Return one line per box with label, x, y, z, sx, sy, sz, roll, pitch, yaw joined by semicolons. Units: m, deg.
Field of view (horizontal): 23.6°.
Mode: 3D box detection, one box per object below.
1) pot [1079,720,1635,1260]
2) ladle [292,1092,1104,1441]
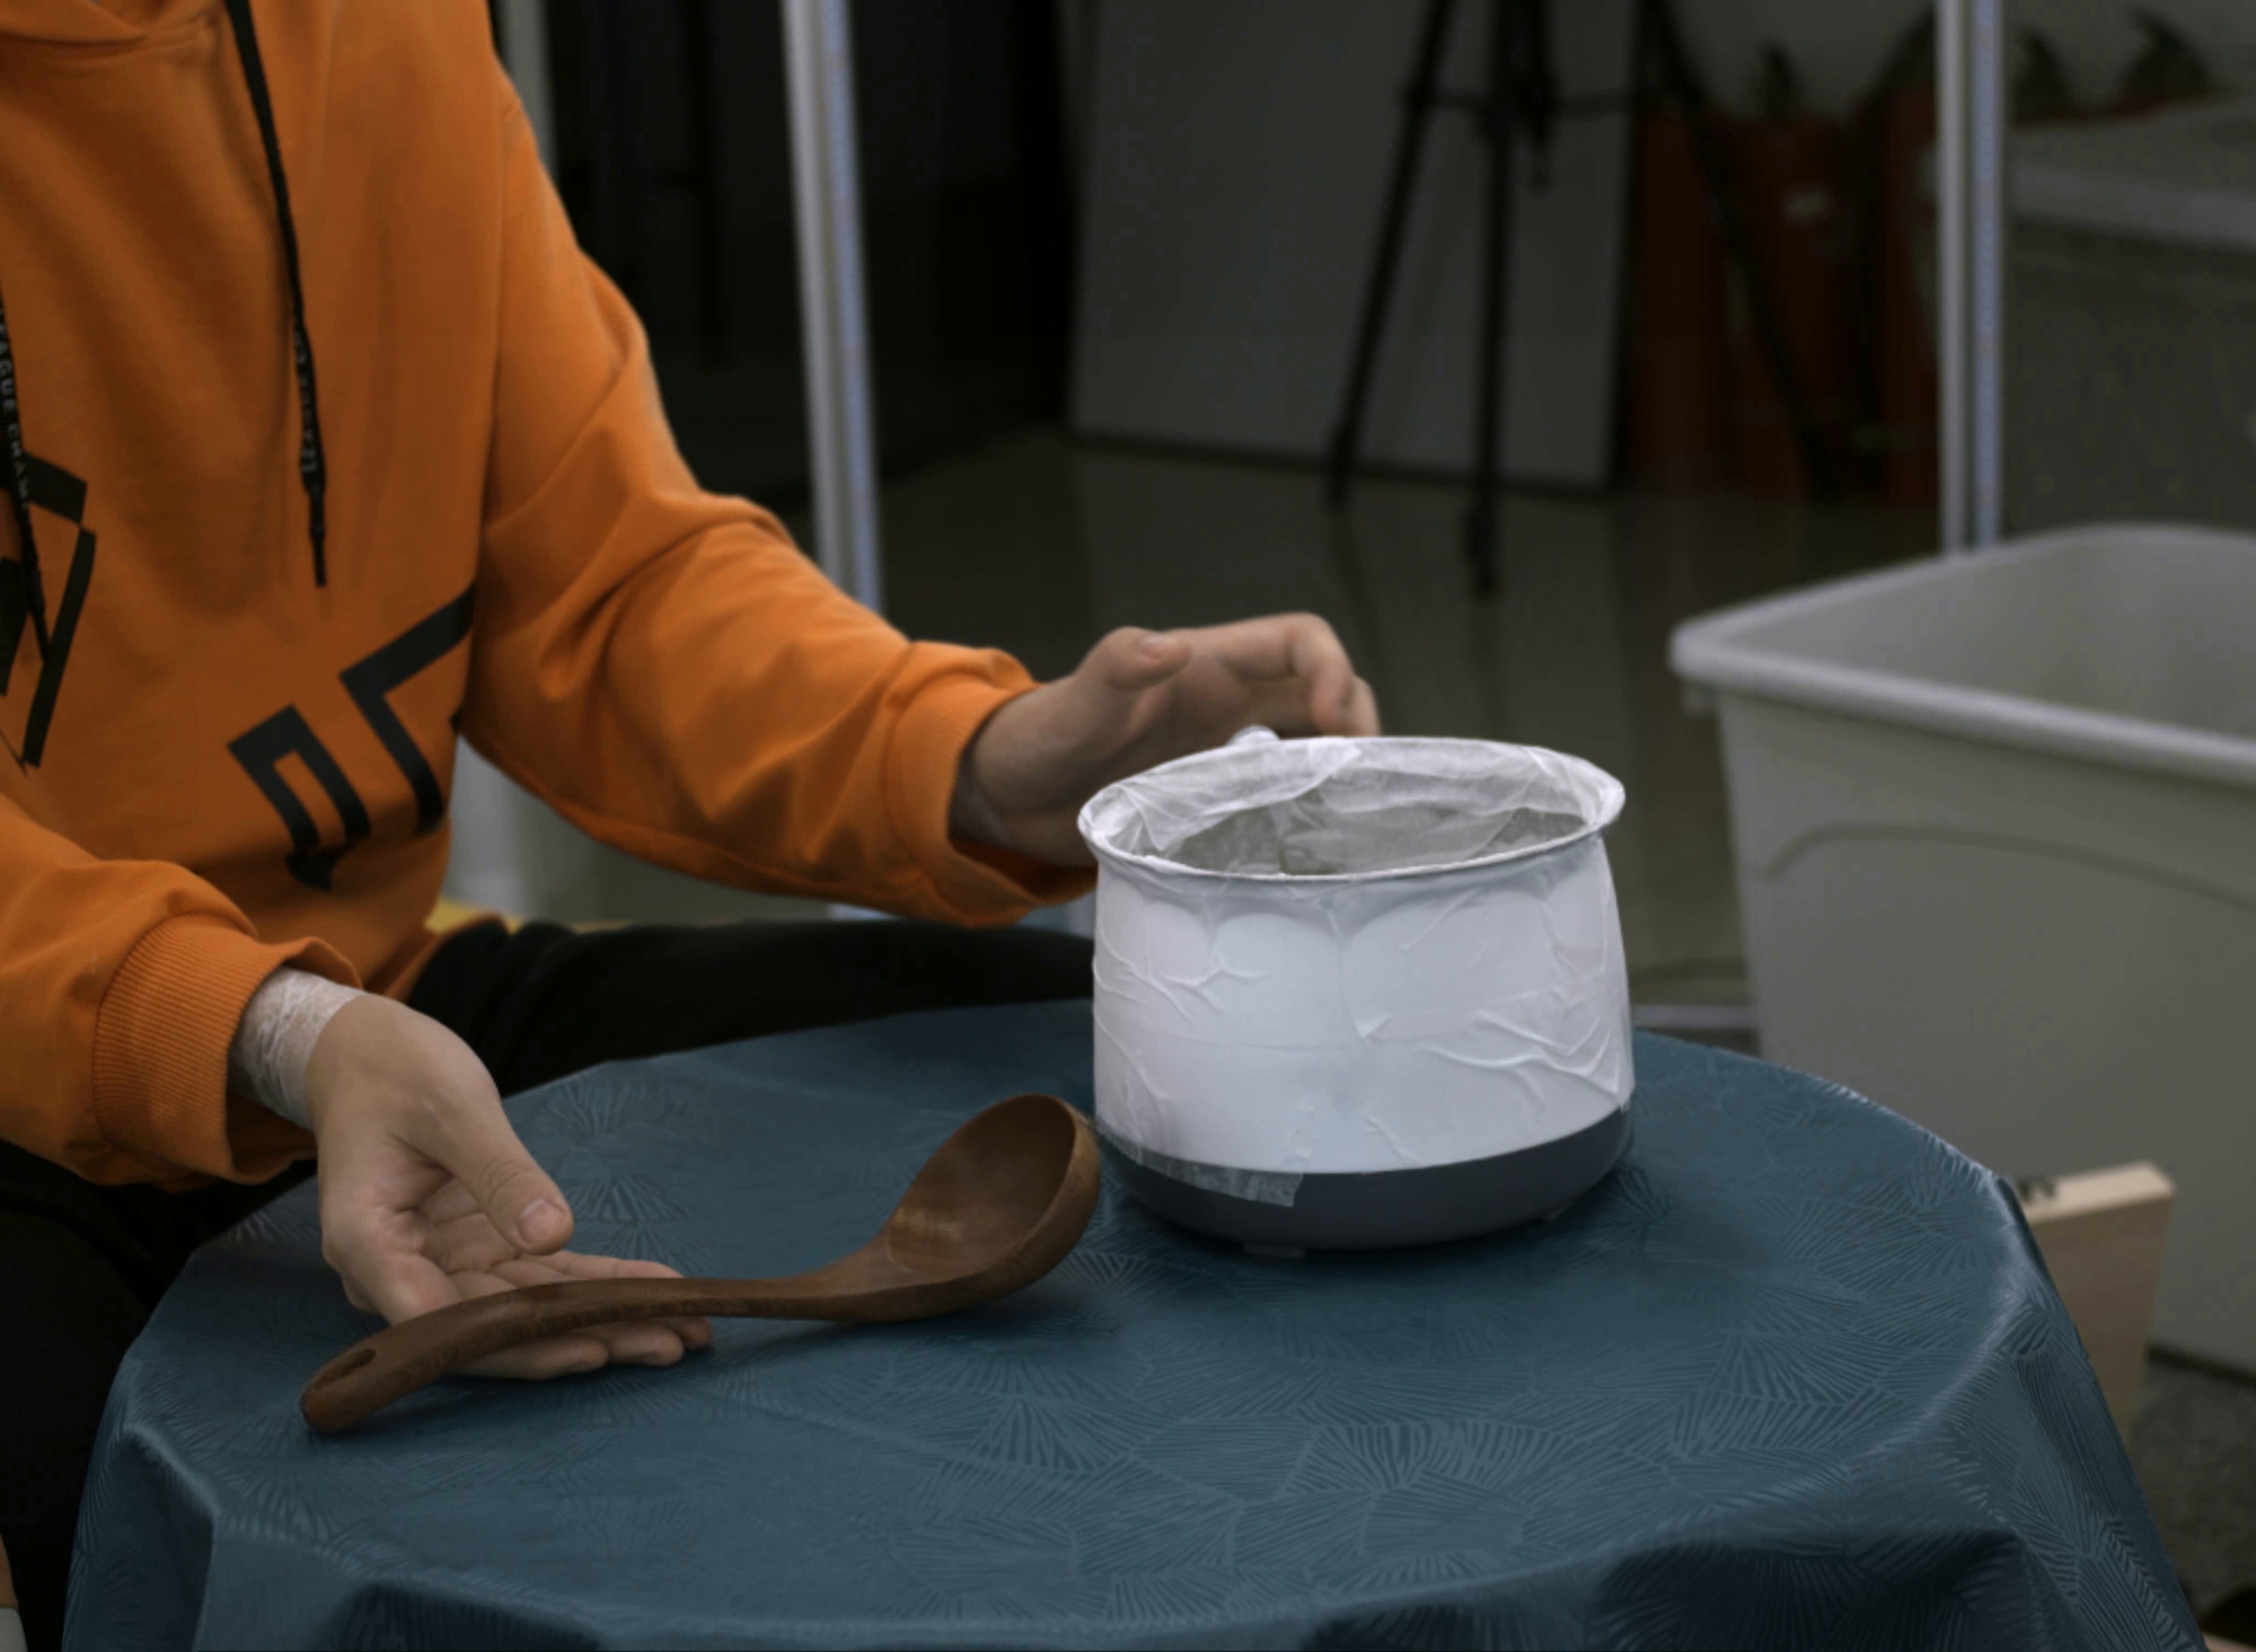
pot;0.066;0.047;1.762;0.175;0.138;0.236;-8;14;-16
ladle;-0.128;0.131;1.632;0.255;0.066;0.077;-9;13;-21
